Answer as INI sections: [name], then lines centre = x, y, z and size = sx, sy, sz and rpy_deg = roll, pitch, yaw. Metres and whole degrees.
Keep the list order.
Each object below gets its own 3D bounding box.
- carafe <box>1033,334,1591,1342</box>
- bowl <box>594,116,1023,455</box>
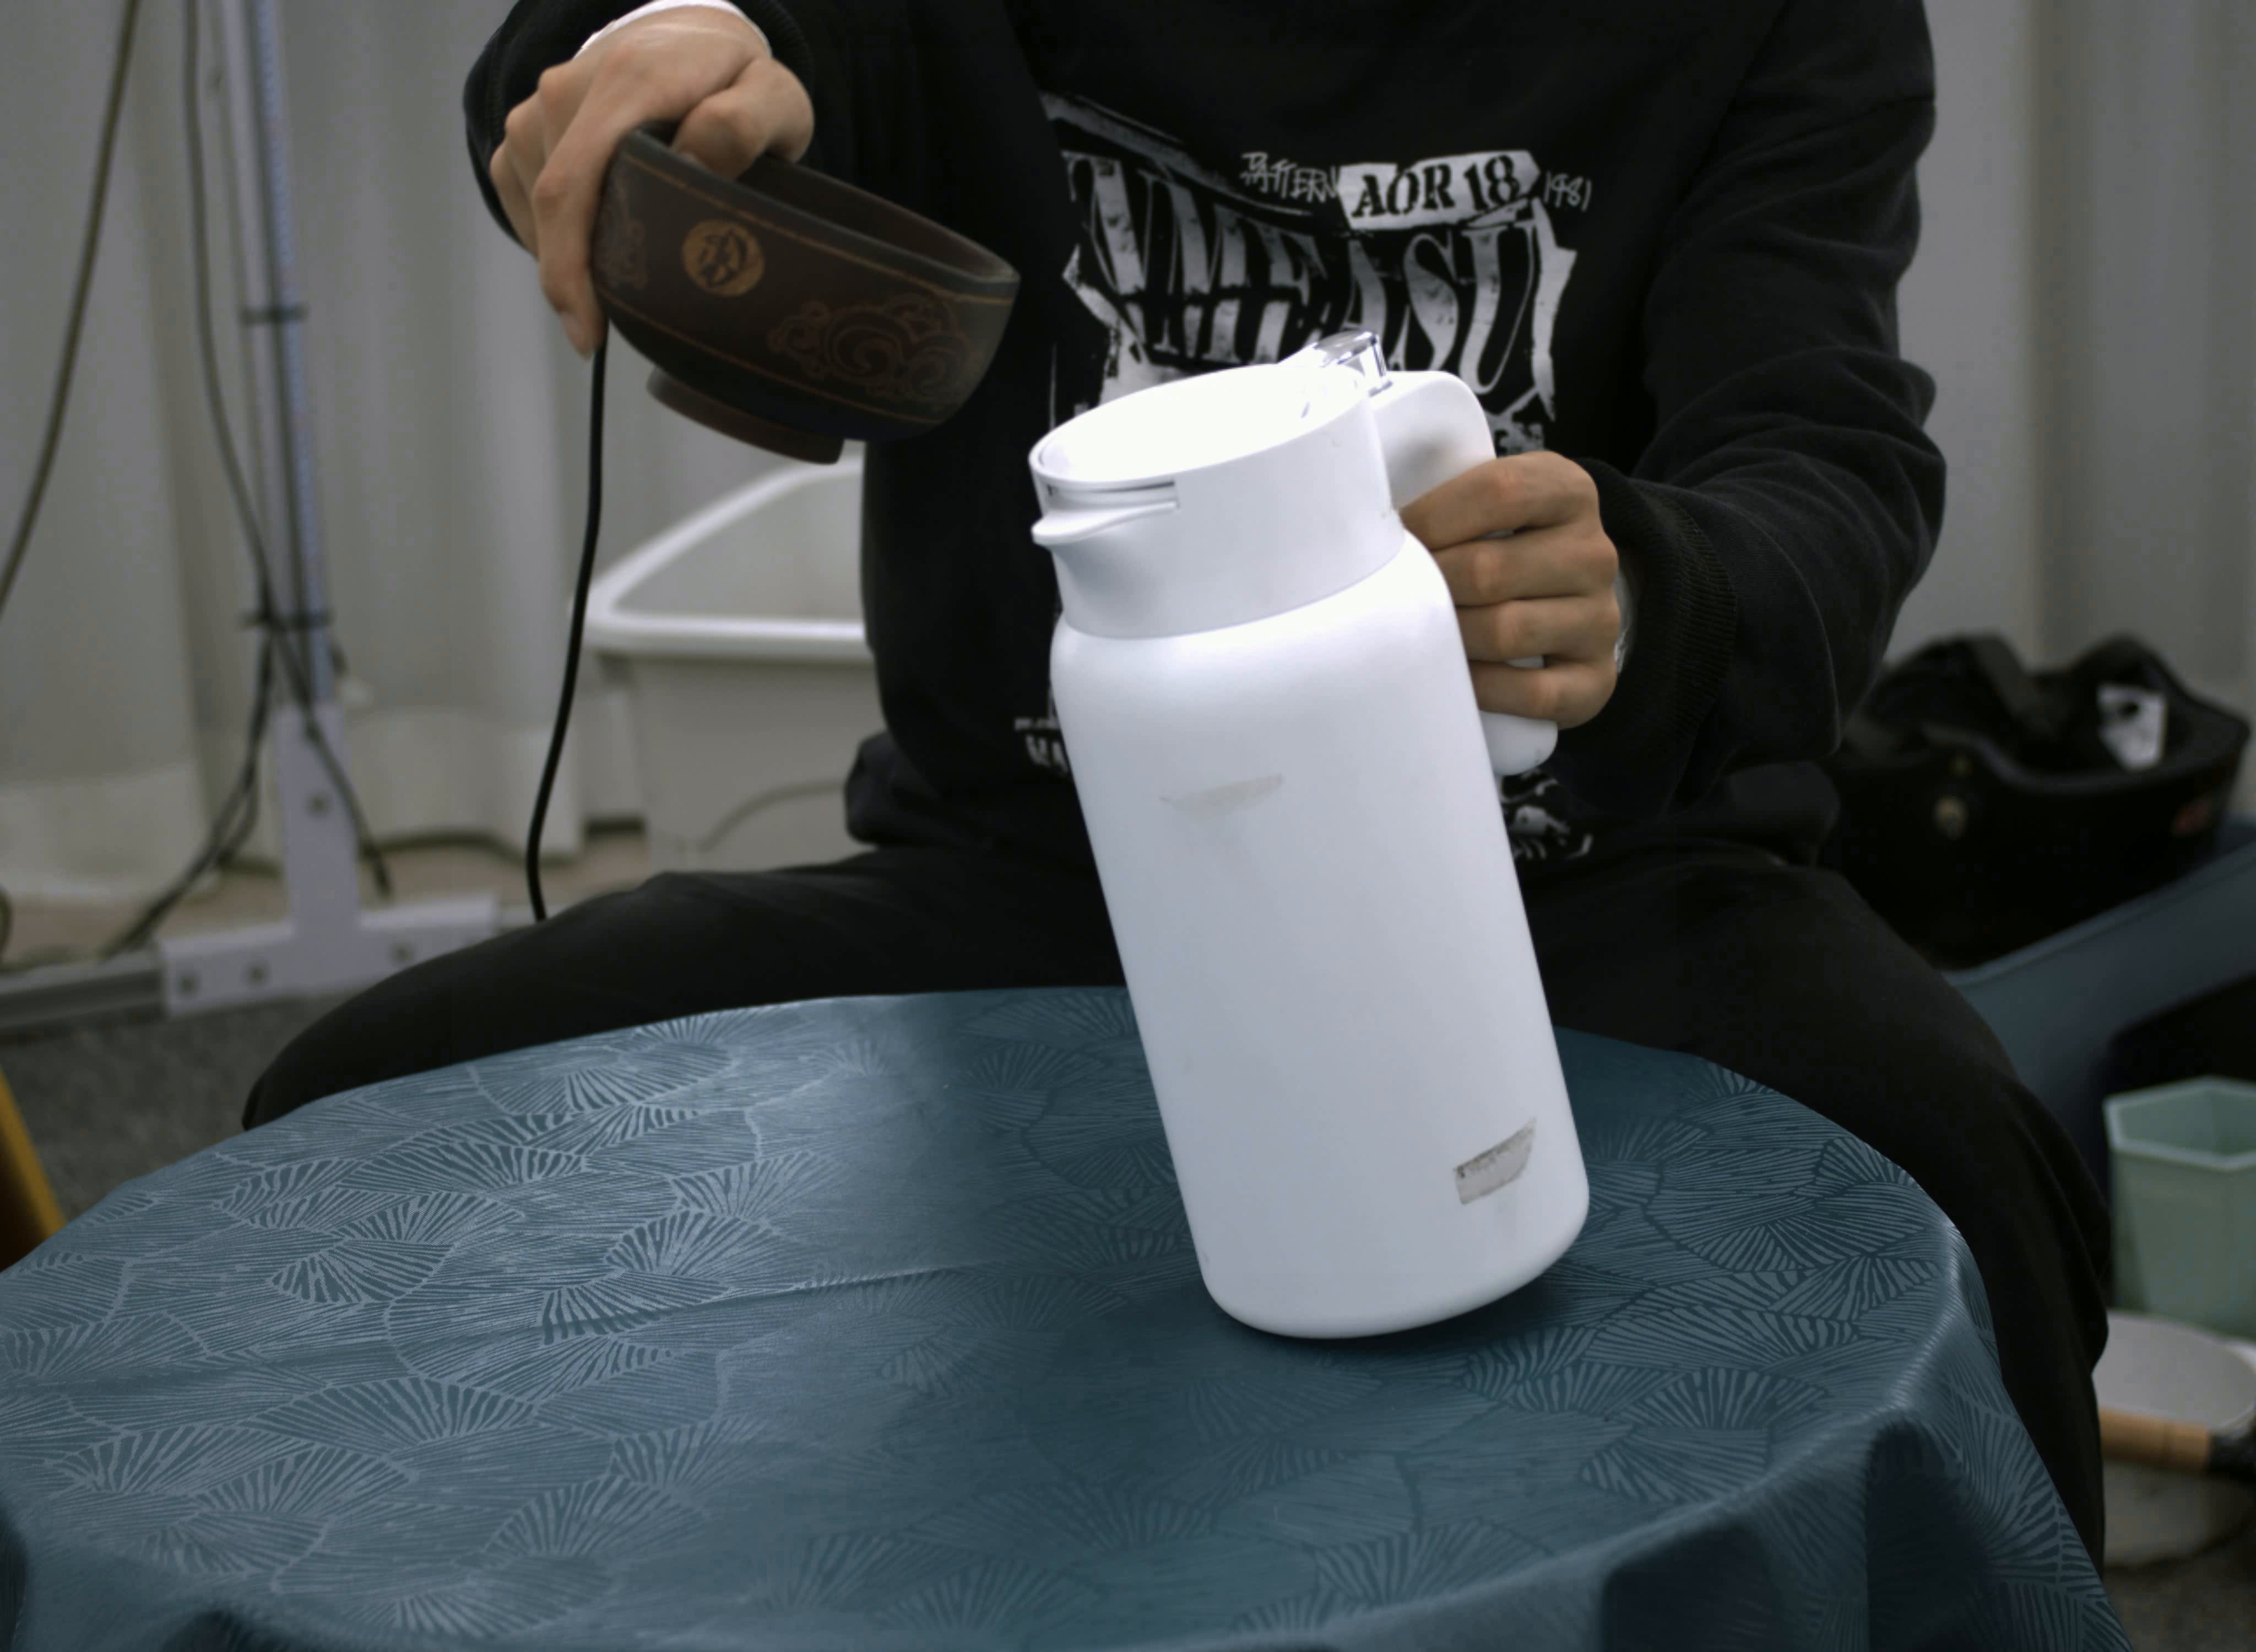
[carafe]
centre = 0.061, 0.000, 1.583
size = 0.124, 0.267, 0.173
rpy_deg = 0, 22, 43
[bowl]
centre = -0.095, -0.146, 1.530
size = 0.117, 0.070, 0.118
rpy_deg = 21, 10, -4
